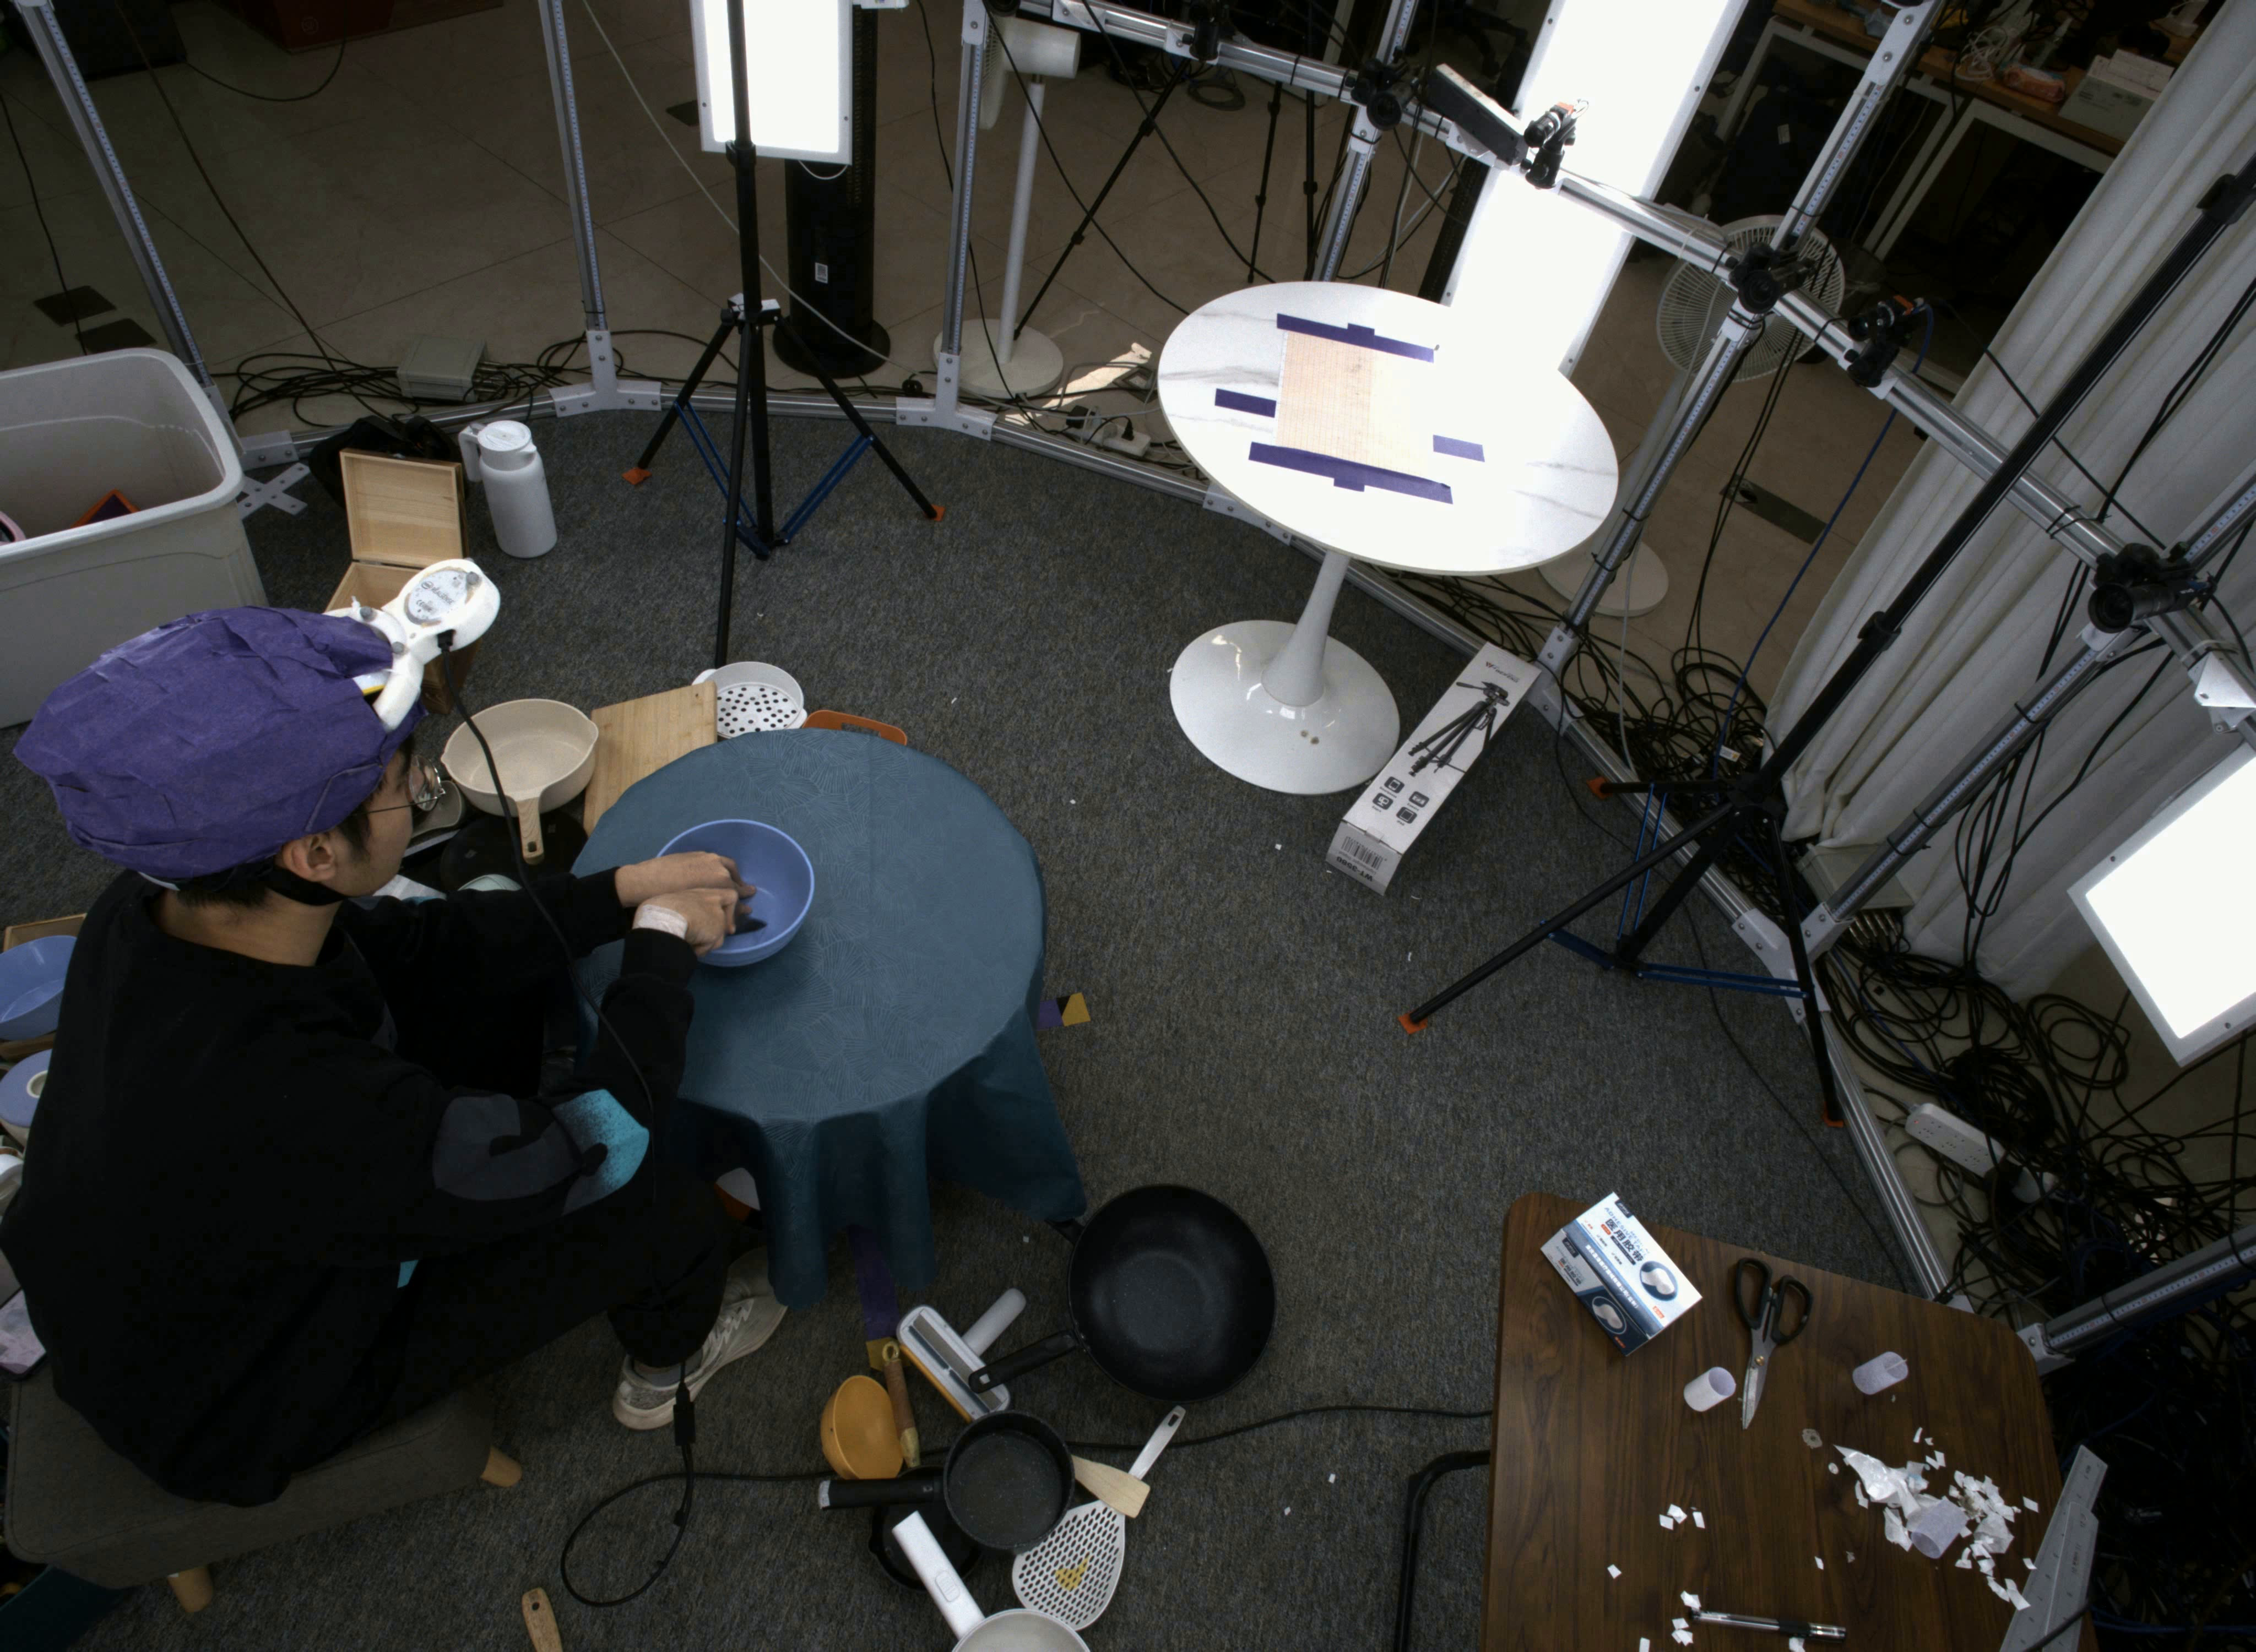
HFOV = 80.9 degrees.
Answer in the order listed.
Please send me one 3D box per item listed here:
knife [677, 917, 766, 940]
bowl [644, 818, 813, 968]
[{"bbox_3d":[-0.464,0.116,1.493,0.017,0.227,0.026,15,88,9],"label":"knife"},{"bbox_3d":[-0.481,0.094,1.563,0.196,0.097,0.193,9,49,-9],"label":"bowl"}]
